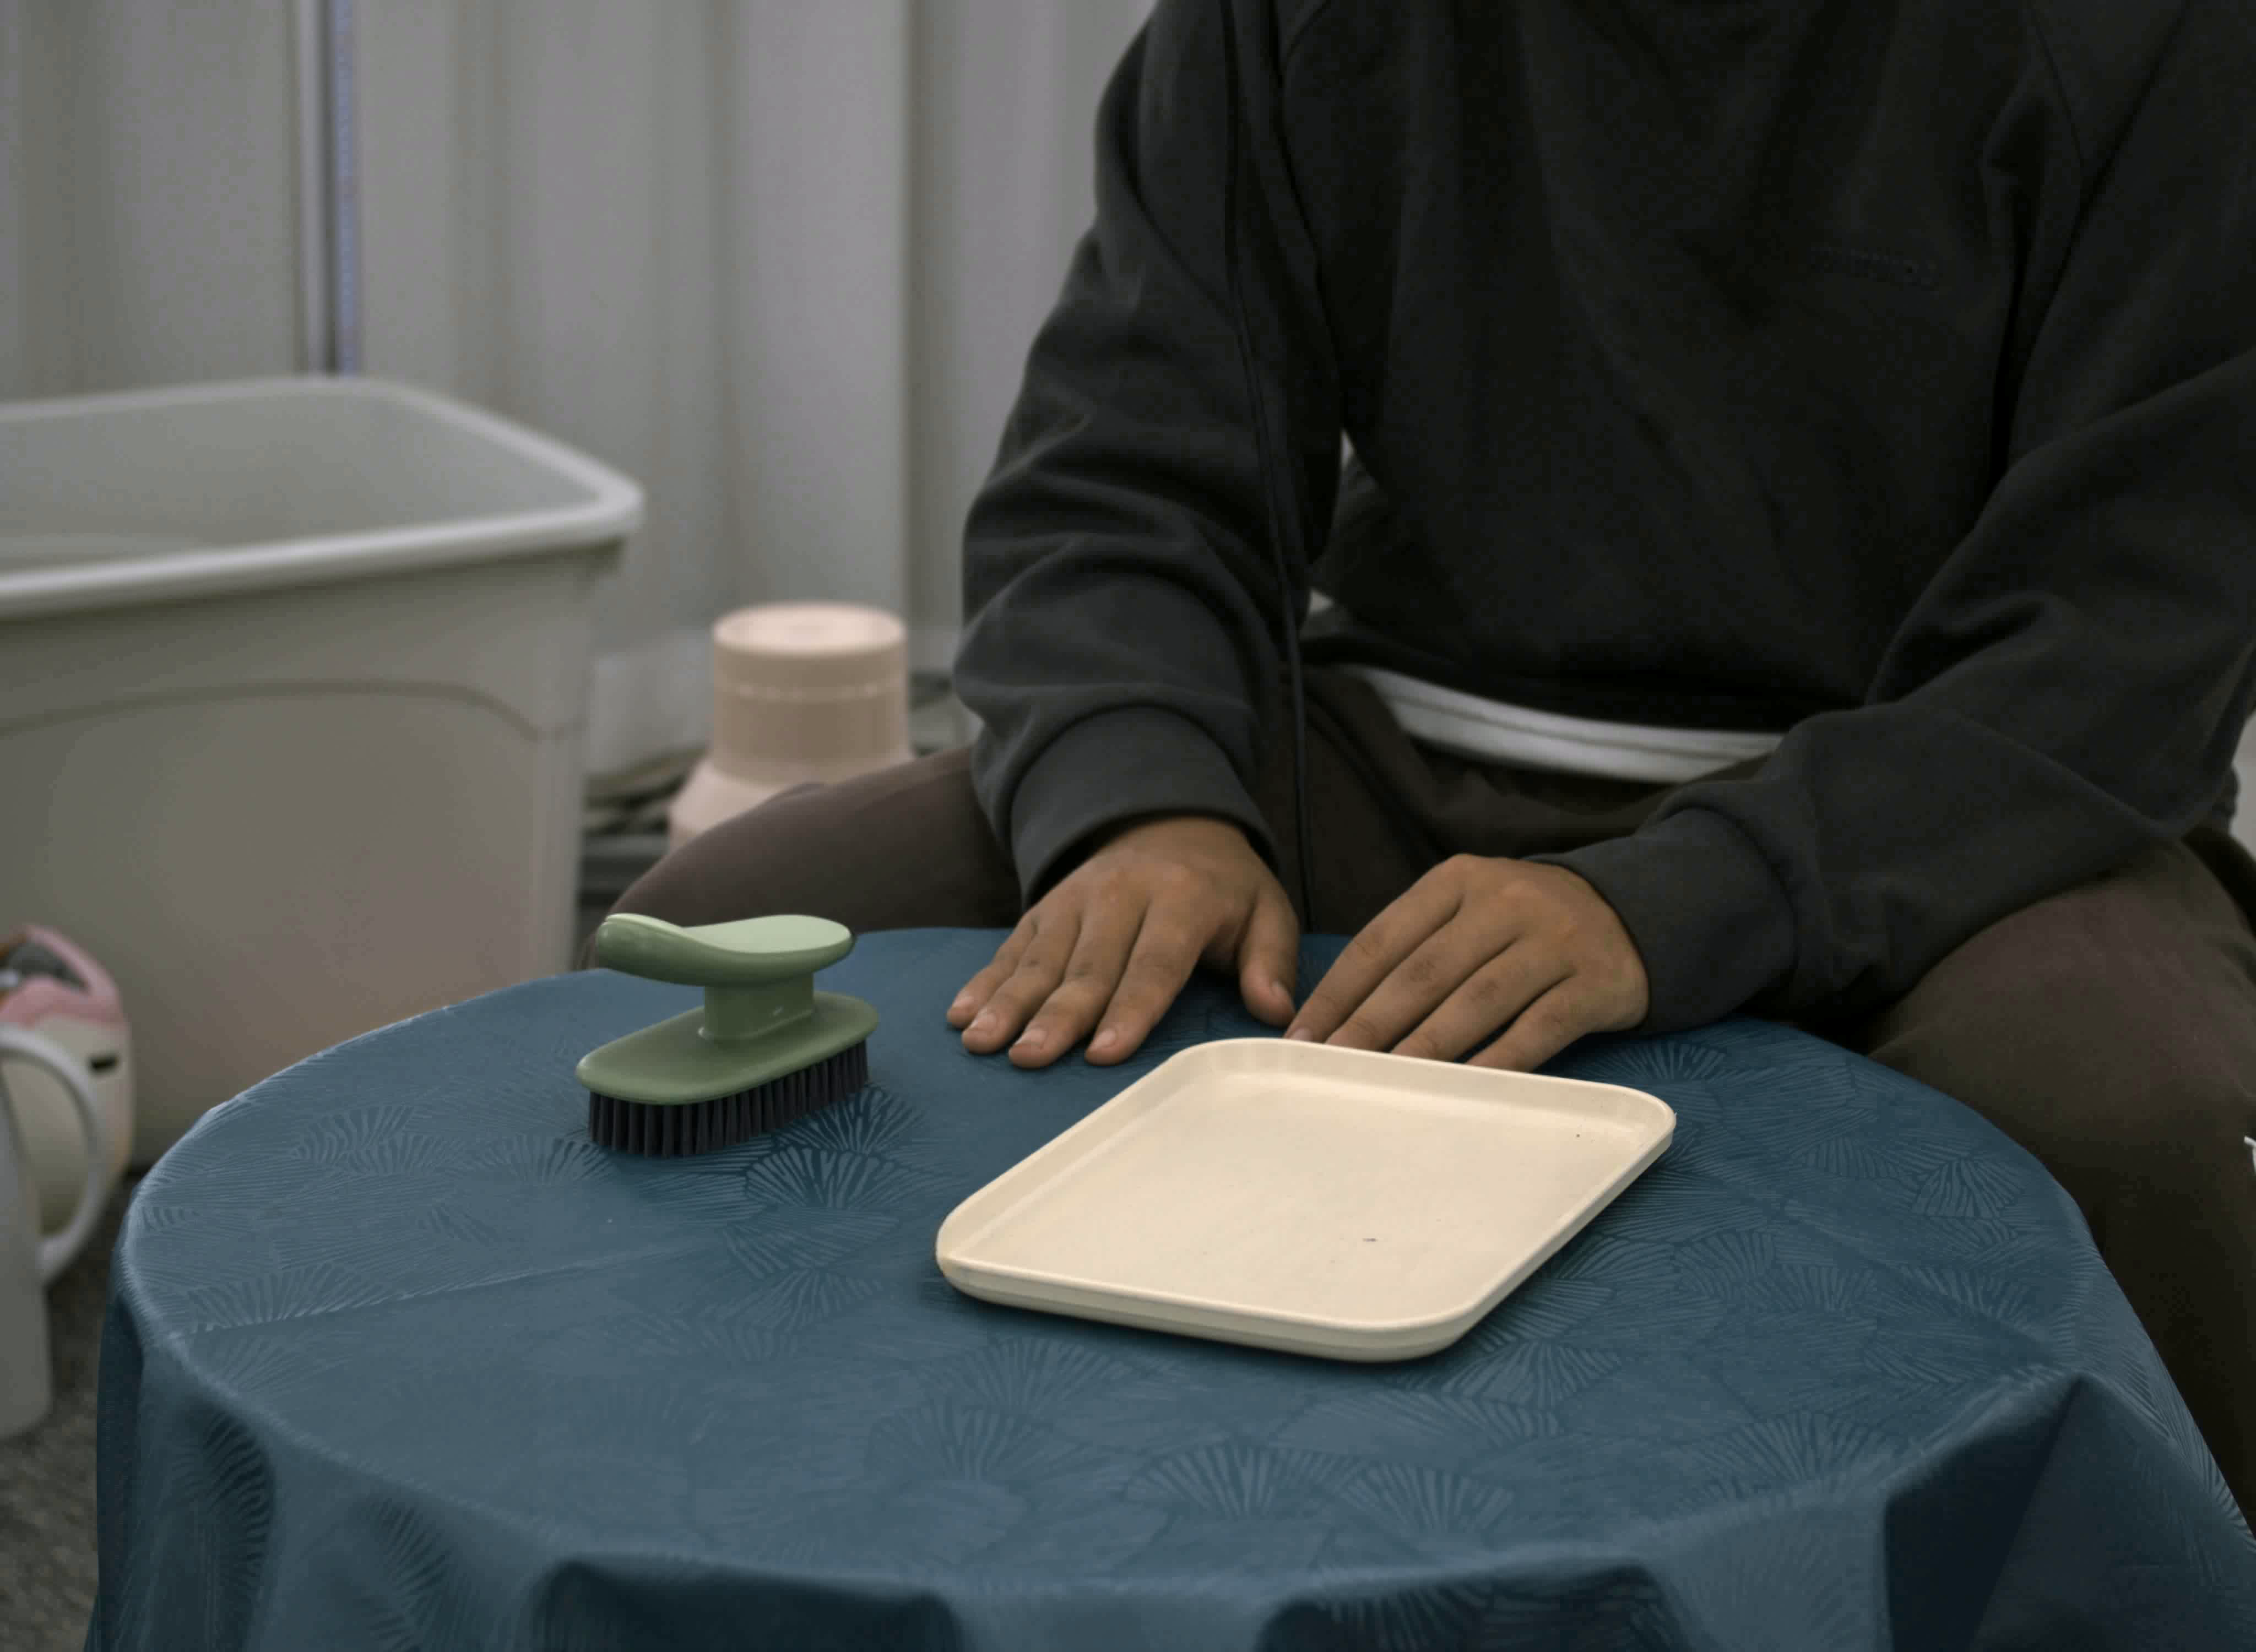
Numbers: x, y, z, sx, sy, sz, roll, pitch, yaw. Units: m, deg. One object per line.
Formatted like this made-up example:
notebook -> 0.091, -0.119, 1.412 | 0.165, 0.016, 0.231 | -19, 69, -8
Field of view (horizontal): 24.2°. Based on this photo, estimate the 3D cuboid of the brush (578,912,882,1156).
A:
brush -> -0.128, 0.066, 1.690 | 0.059, 0.076, 0.124 | 12, 6, 31

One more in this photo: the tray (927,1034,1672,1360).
tray -> 0.056, 0.111, 1.600 | 0.169, 0.017, 0.240 | 8, 17, 23
